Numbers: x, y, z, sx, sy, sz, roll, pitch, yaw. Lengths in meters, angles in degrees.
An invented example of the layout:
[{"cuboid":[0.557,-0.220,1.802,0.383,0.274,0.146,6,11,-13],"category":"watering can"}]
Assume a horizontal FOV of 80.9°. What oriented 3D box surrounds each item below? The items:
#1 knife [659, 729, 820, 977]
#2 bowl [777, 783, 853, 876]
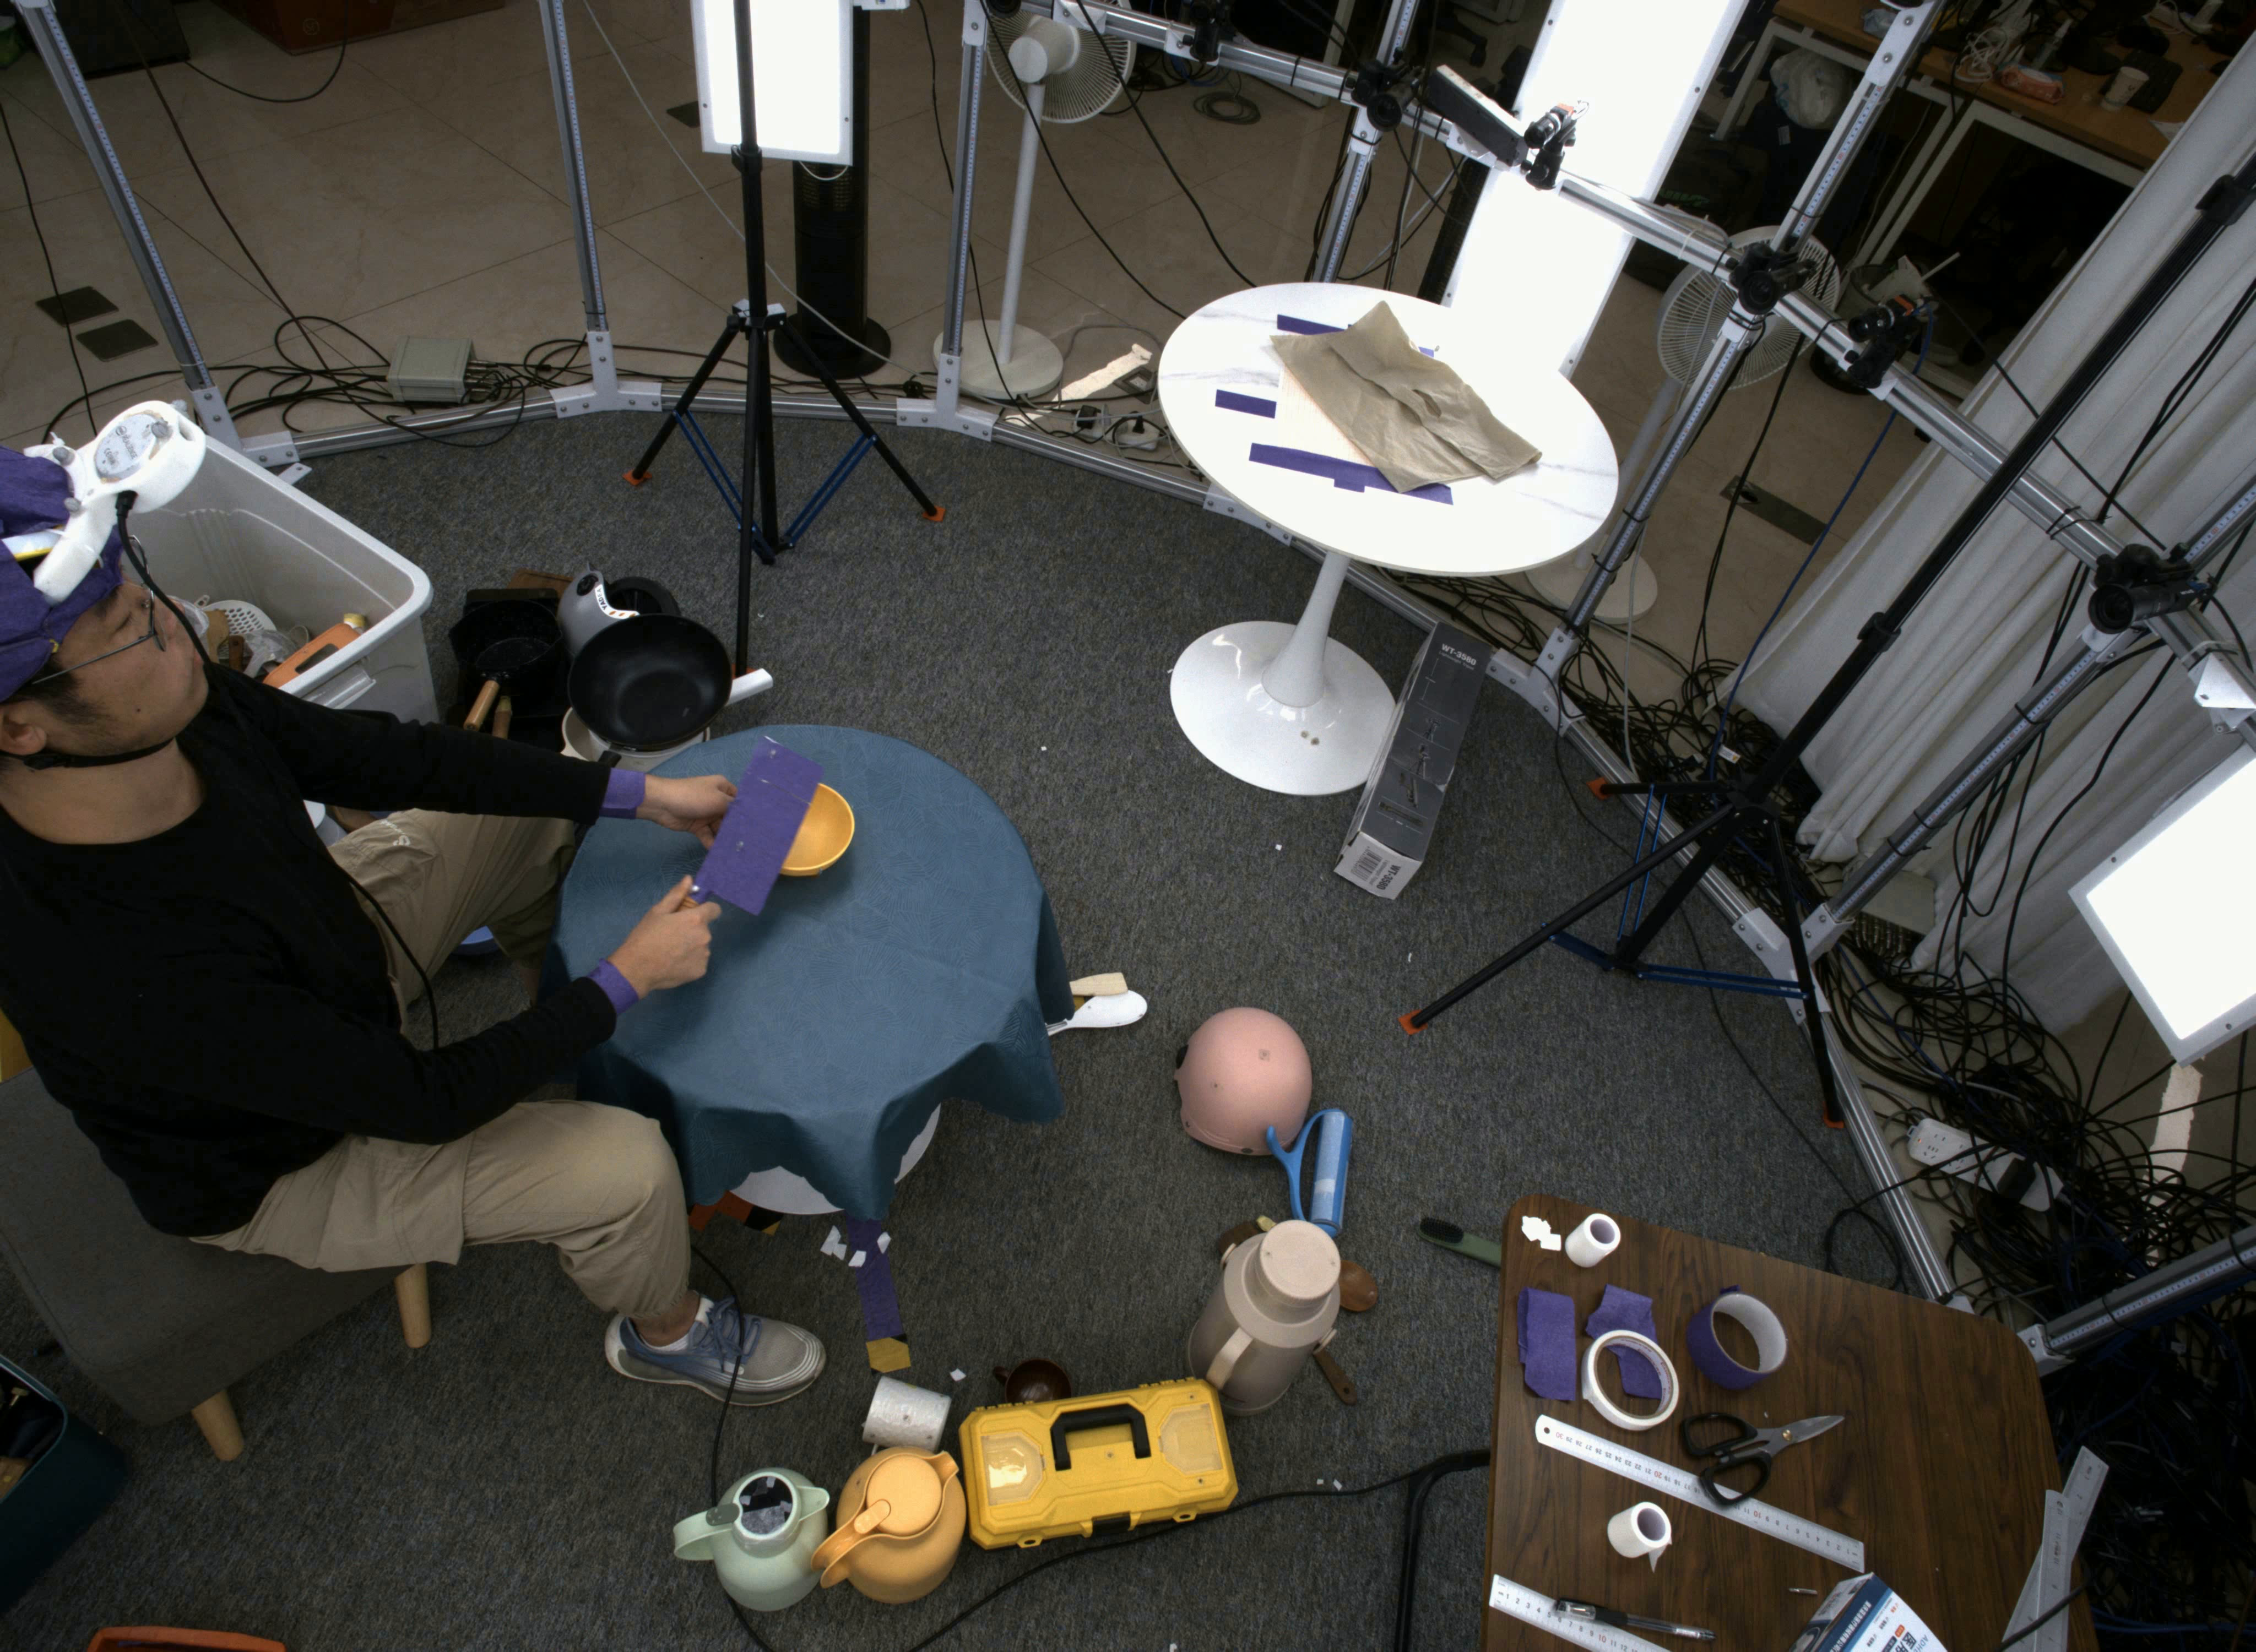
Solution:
[{"cuboid":[-0.461,0.041,1.559,0.107,0.031,0.315,31,71,-31],"category":"knife"},{"cuboid":[-0.428,0.013,1.669,0.145,0.061,0.142,10,51,-10],"category":"bowl"}]
